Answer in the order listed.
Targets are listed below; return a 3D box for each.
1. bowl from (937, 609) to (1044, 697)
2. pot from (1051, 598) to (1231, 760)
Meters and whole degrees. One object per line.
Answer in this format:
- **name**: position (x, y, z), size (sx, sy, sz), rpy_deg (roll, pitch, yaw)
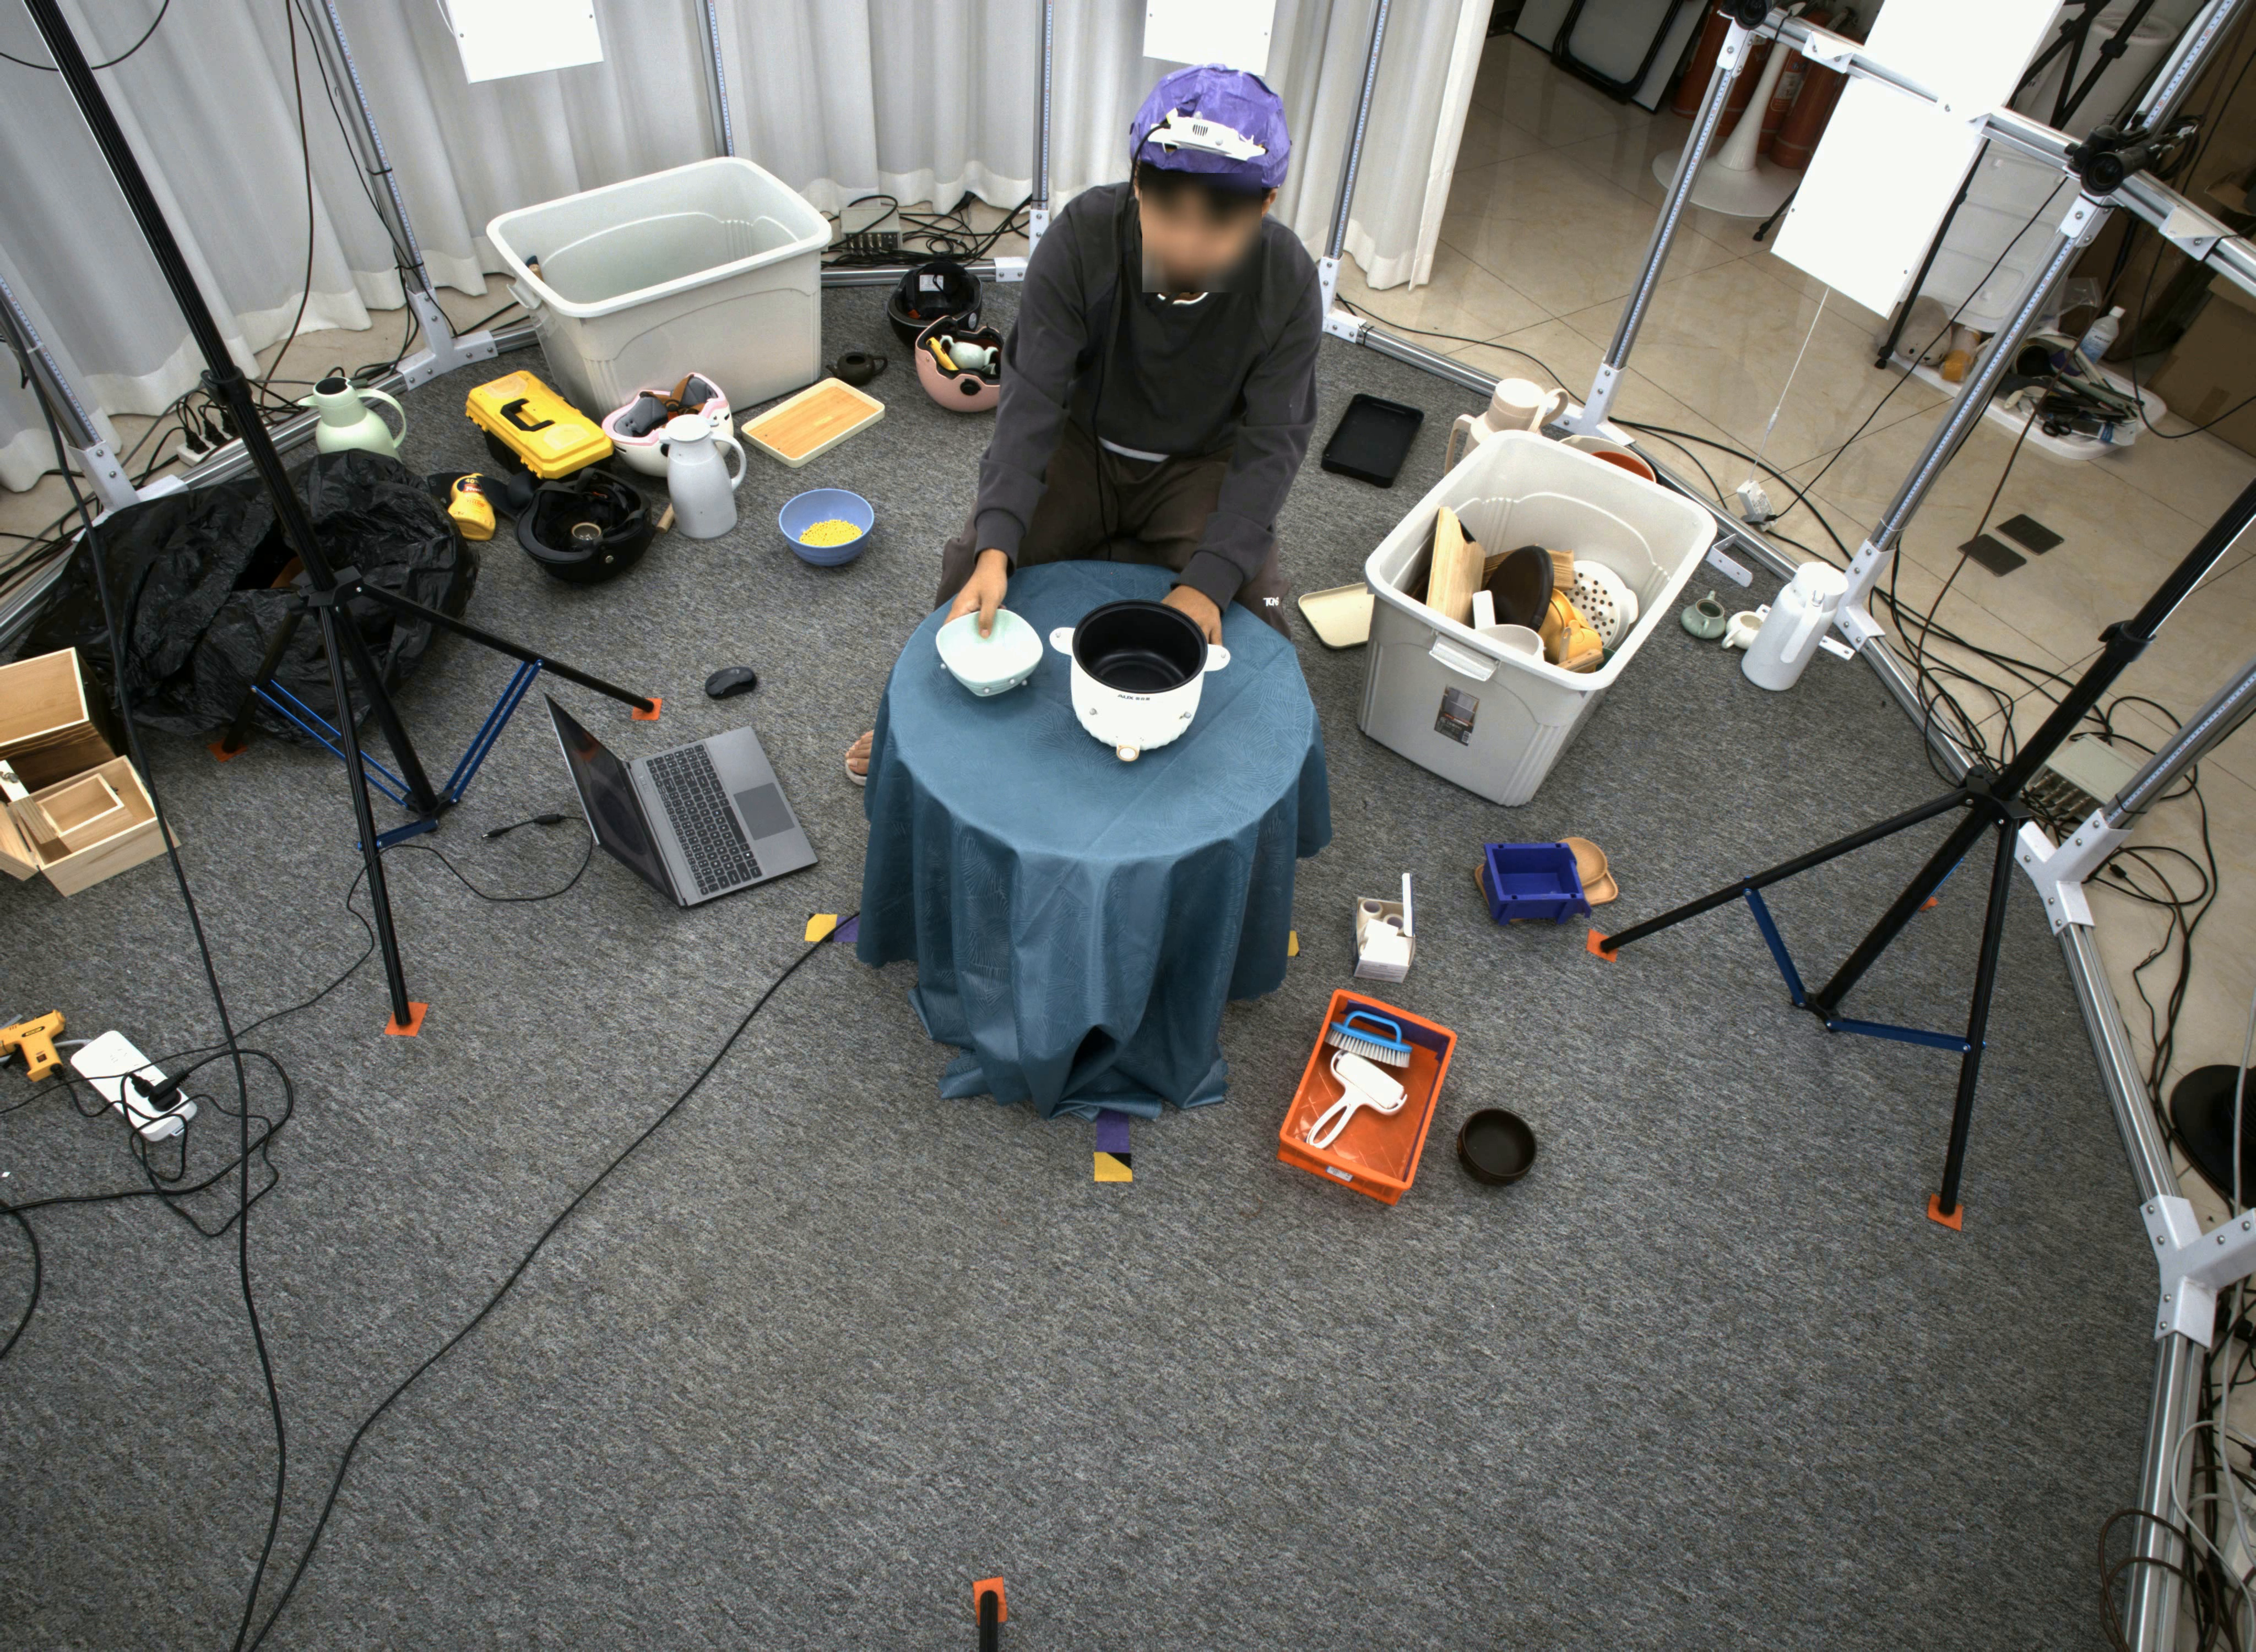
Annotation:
- **bowl**: position (-0.194, -0.237, 1.821), size (0.151, 0.057, 0.155), rpy_deg (2, 50, -3)
- **pot**: position (0.015, -0.197, 1.746), size (0.240, 0.139, 0.195), rpy_deg (4, 46, 1)
